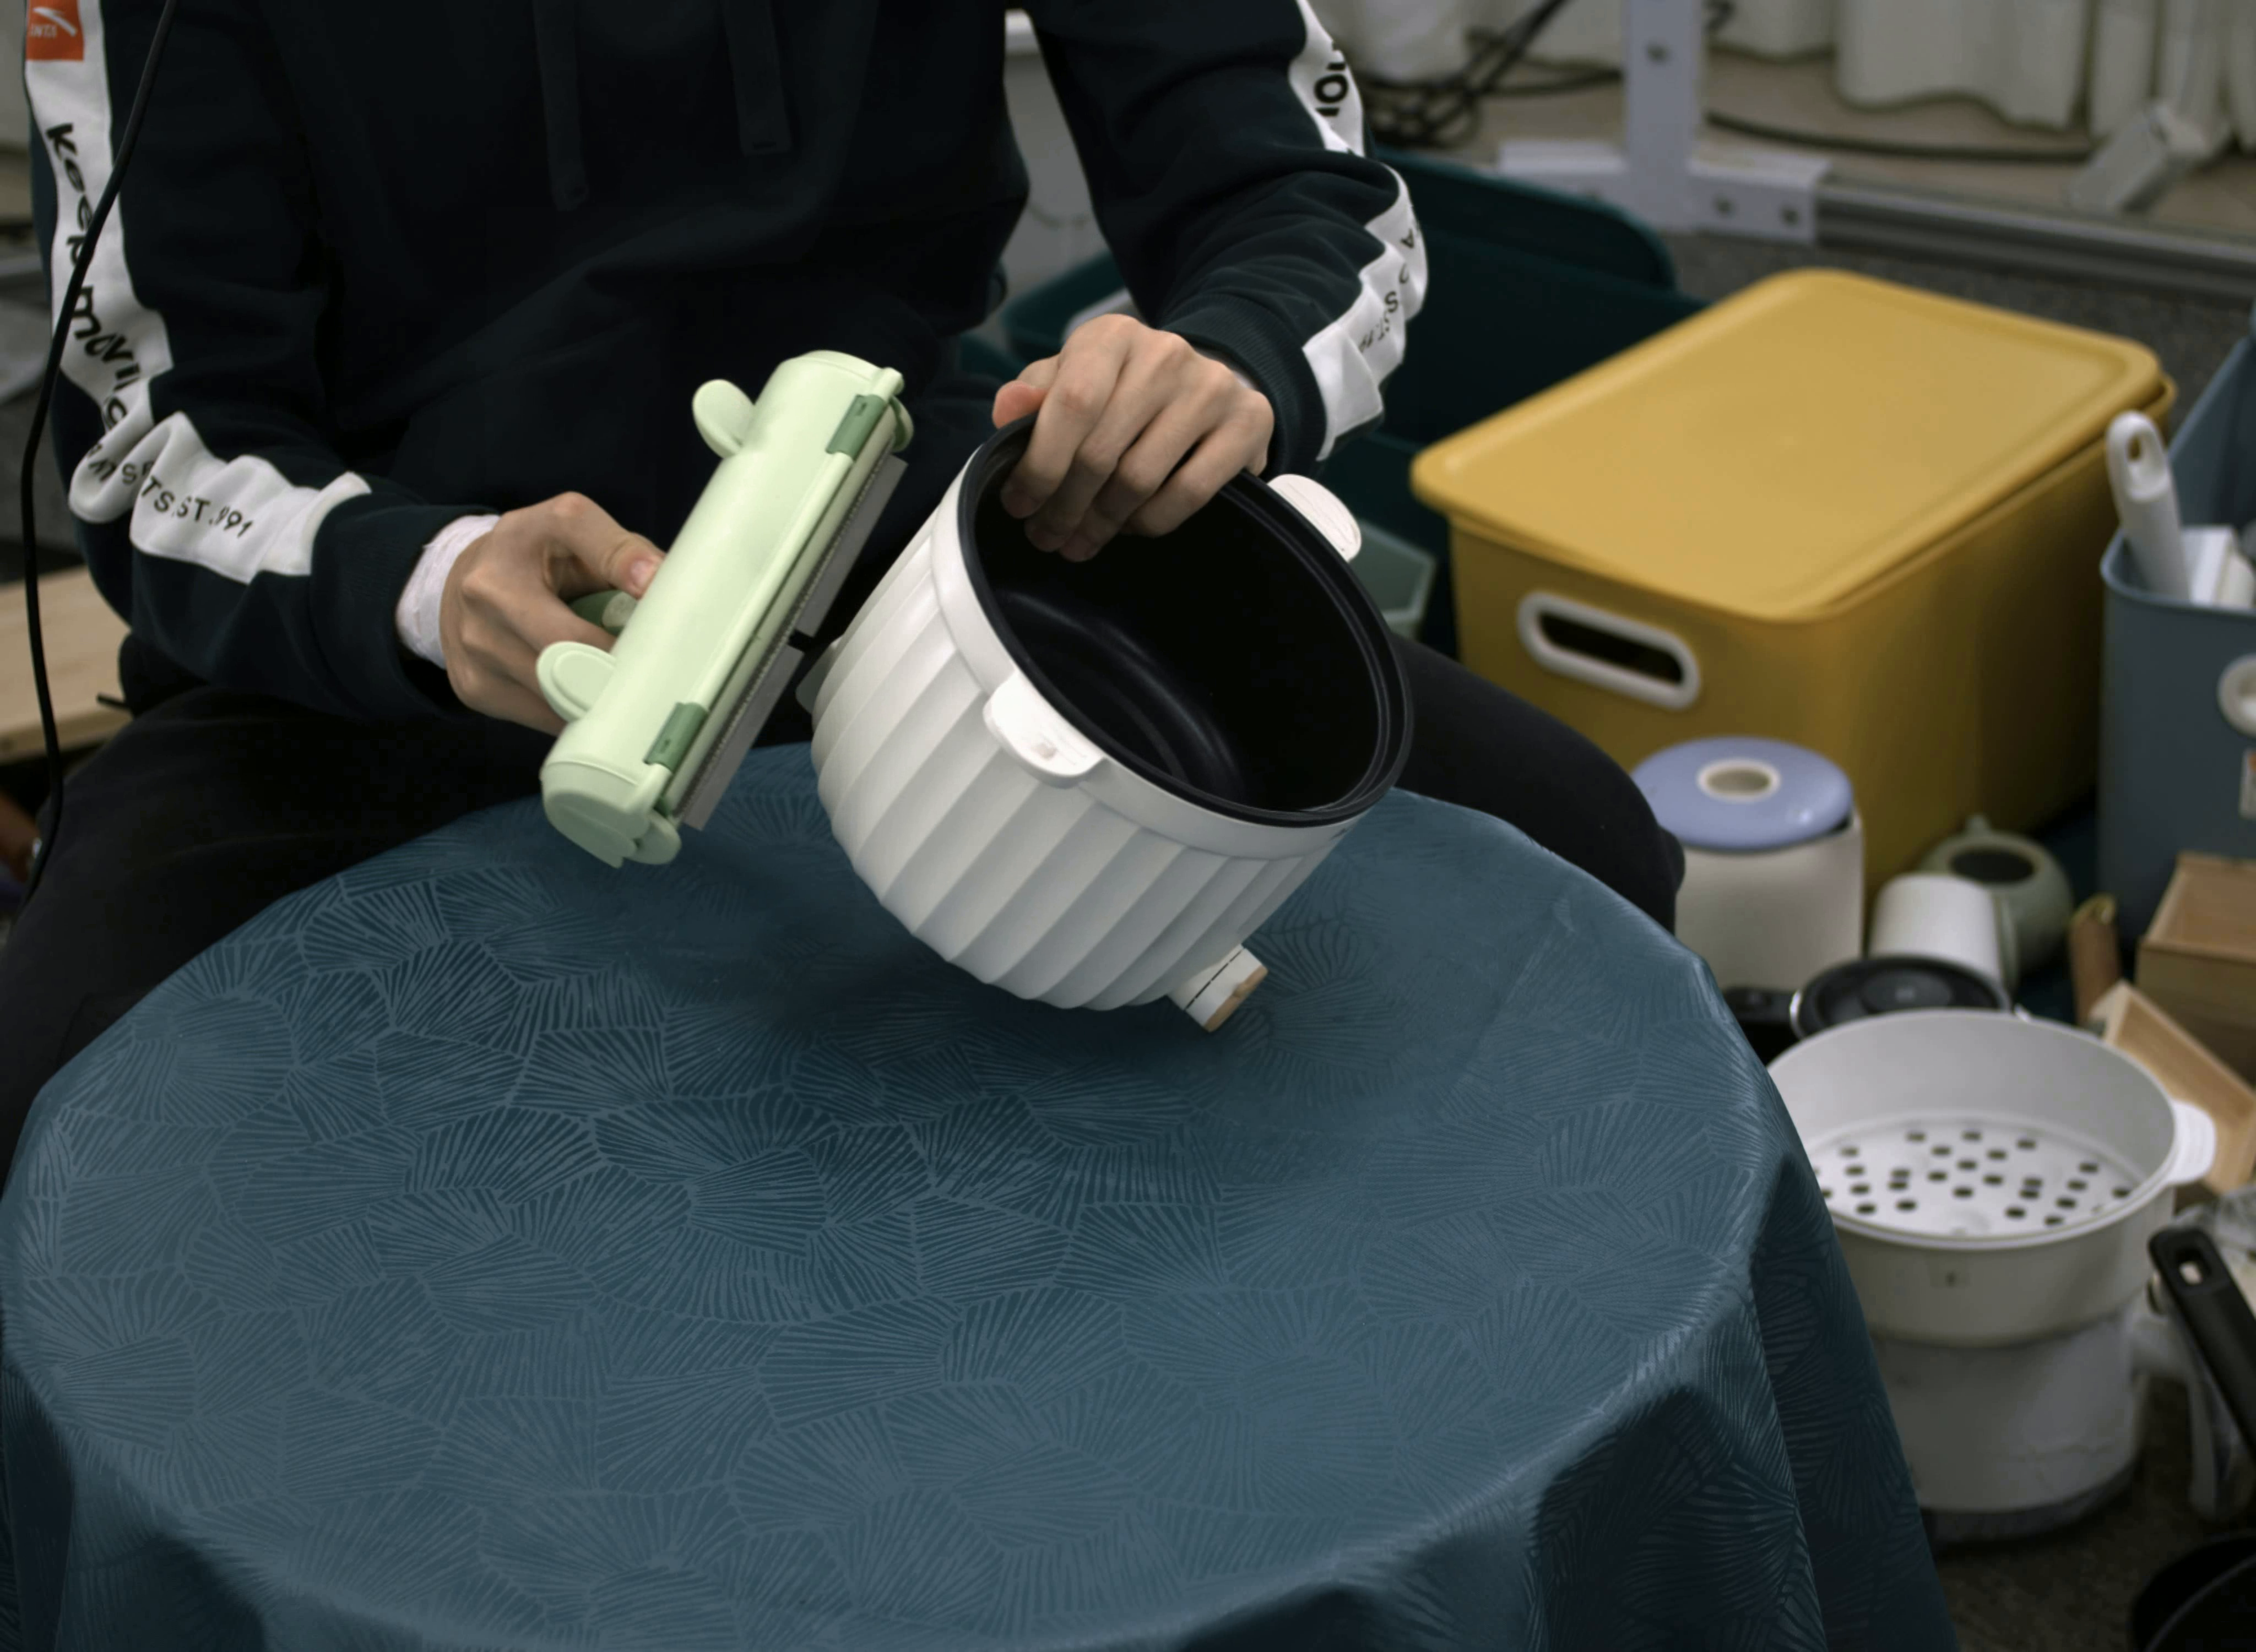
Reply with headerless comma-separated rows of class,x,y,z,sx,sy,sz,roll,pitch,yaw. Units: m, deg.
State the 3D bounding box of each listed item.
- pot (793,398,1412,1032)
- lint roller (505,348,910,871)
pot,-0.009,-0.030,1.935,0.190,0.140,0.244,41,36,6
lint roller,-0.178,-0.079,1.977,0.181,0.081,0.202,-2,51,46
